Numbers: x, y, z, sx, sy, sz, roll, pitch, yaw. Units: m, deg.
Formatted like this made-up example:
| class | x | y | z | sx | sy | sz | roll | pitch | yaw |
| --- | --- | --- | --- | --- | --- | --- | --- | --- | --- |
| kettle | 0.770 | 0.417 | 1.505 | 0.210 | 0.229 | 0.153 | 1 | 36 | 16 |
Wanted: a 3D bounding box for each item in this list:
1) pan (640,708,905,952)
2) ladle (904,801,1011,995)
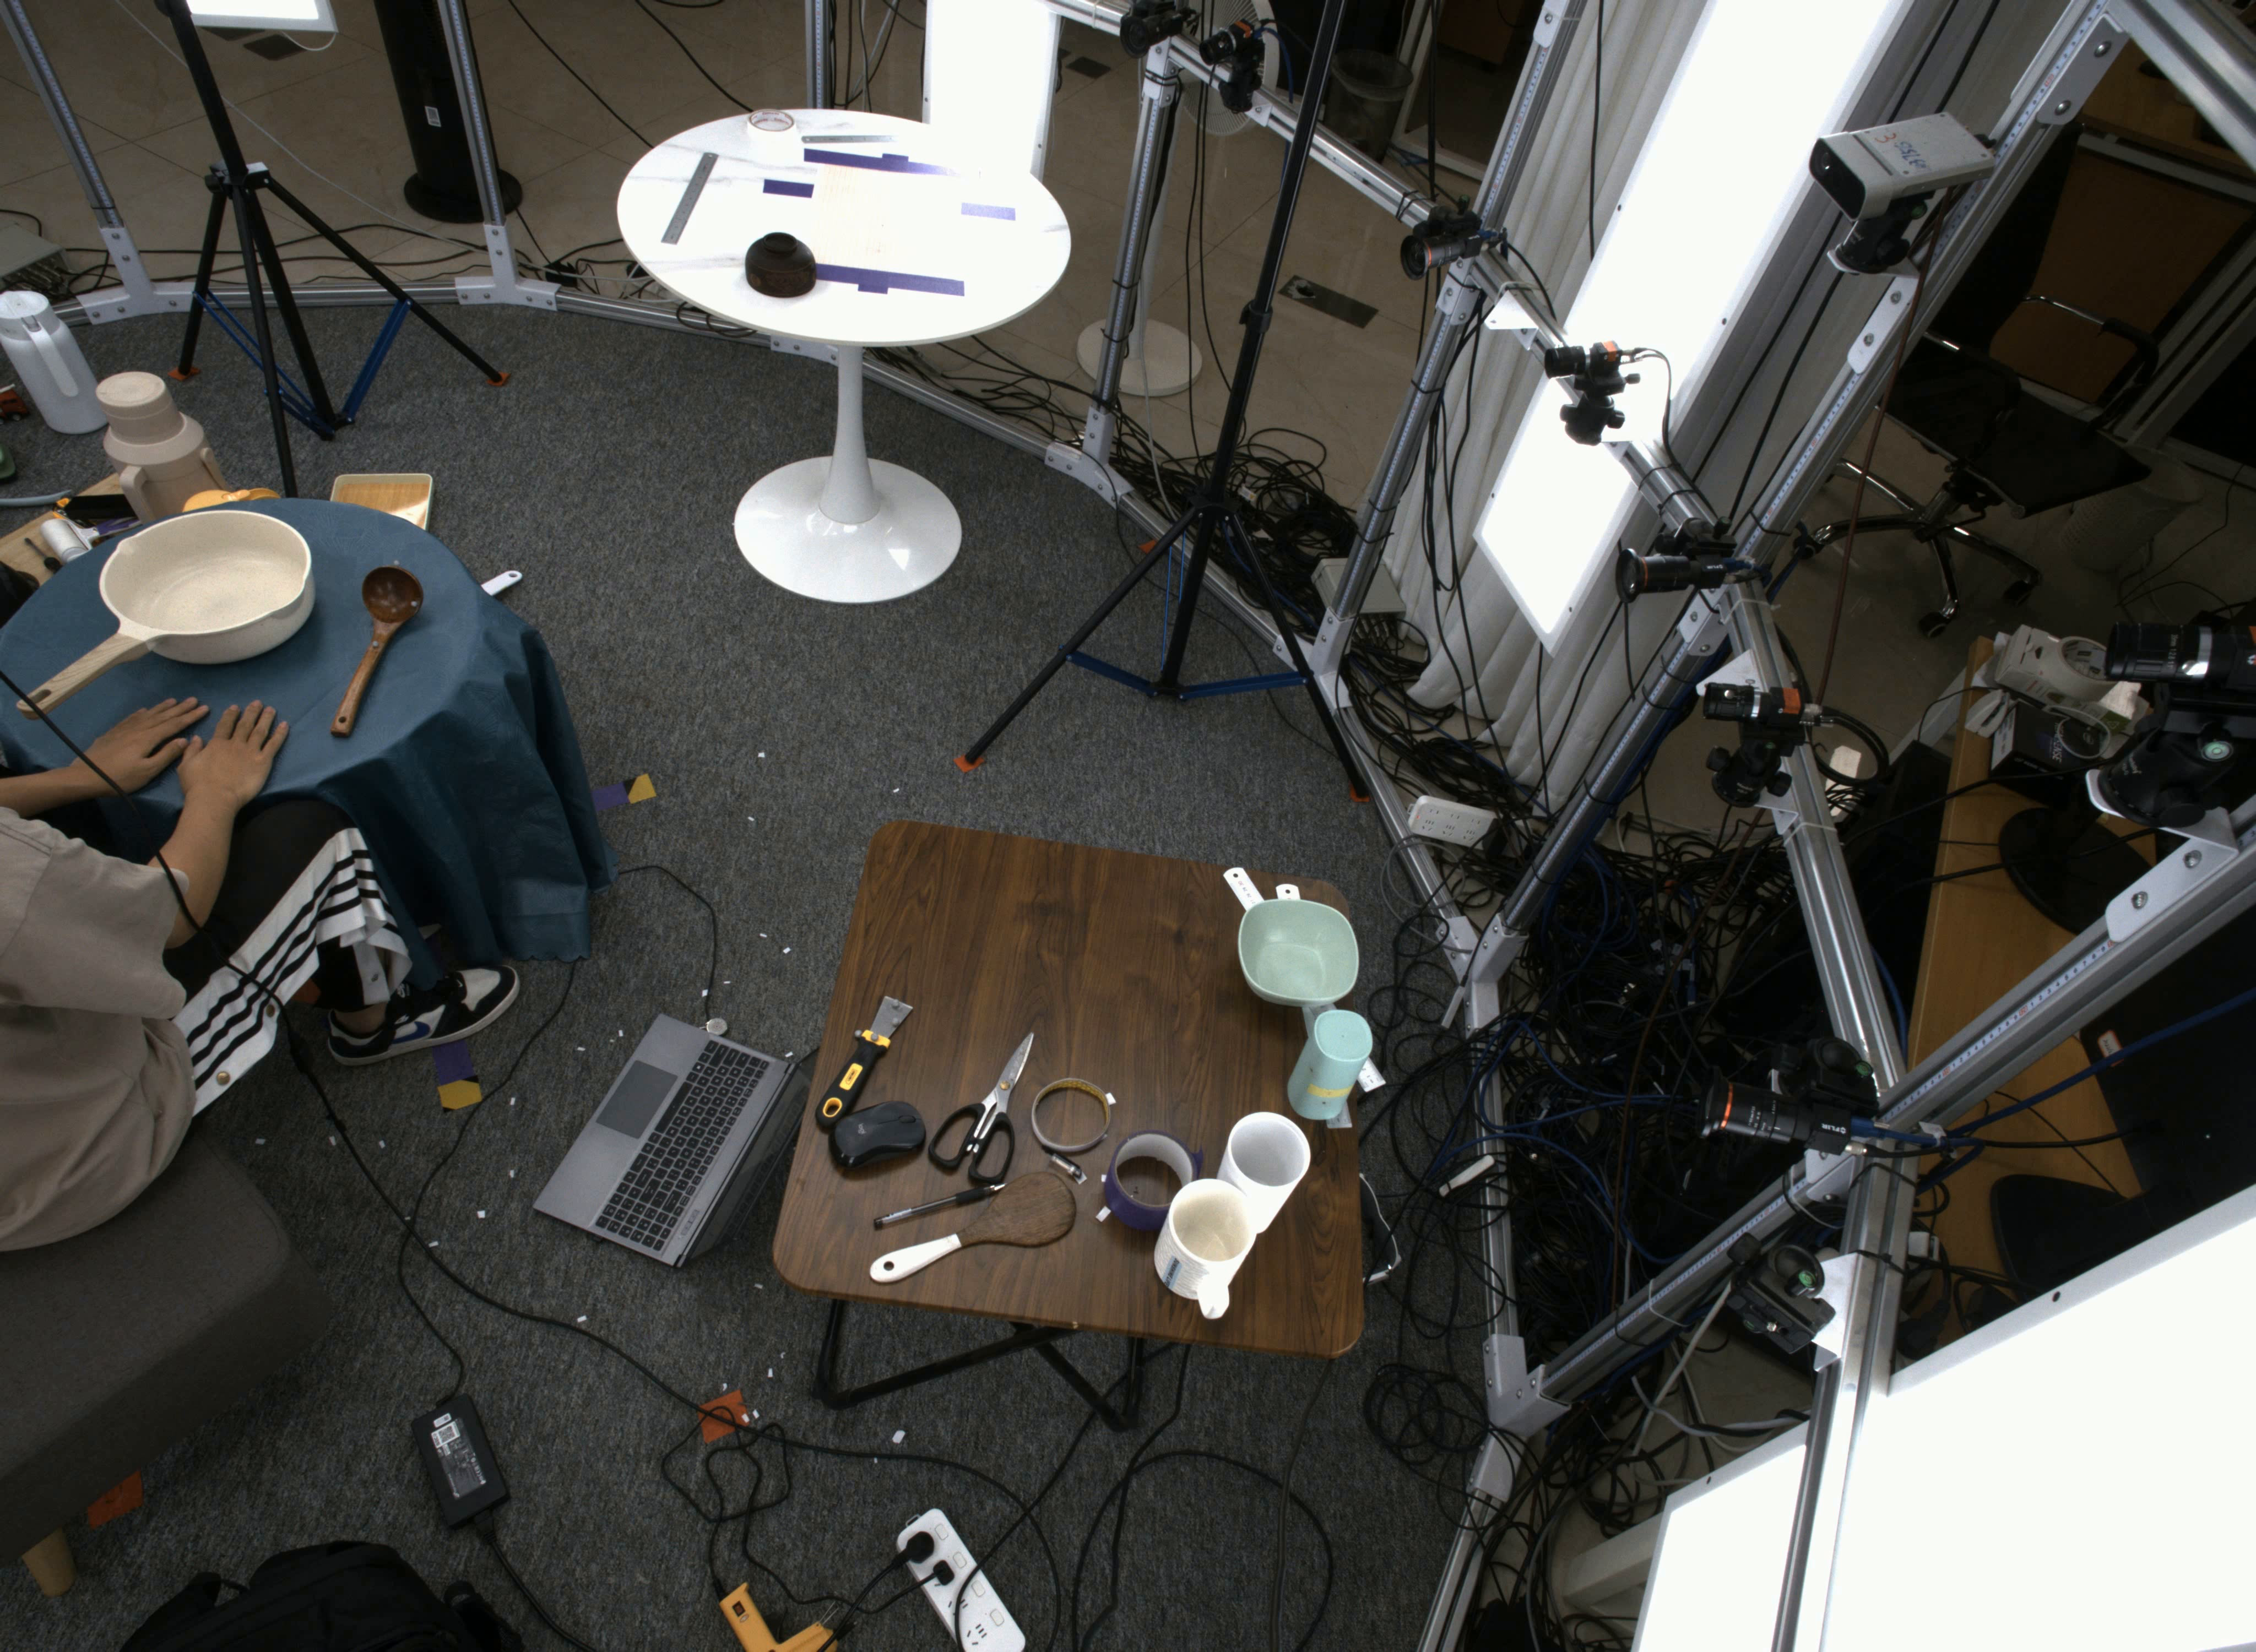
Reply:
| class | x | y | z | sx | sy | sz | roll | pitch | yaw |
| --- | --- | --- | --- | --- | --- | --- | --- | --- | --- |
| pan | -0.463 | 0.021 | 1.646 | 0.259 | 0.104 | 0.433 | 30 | 53 | 9 |
| ladle | -0.223 | 0.085 | 1.669 | 0.081 | 0.078 | 0.271 | 19 | 52 | 2 |
